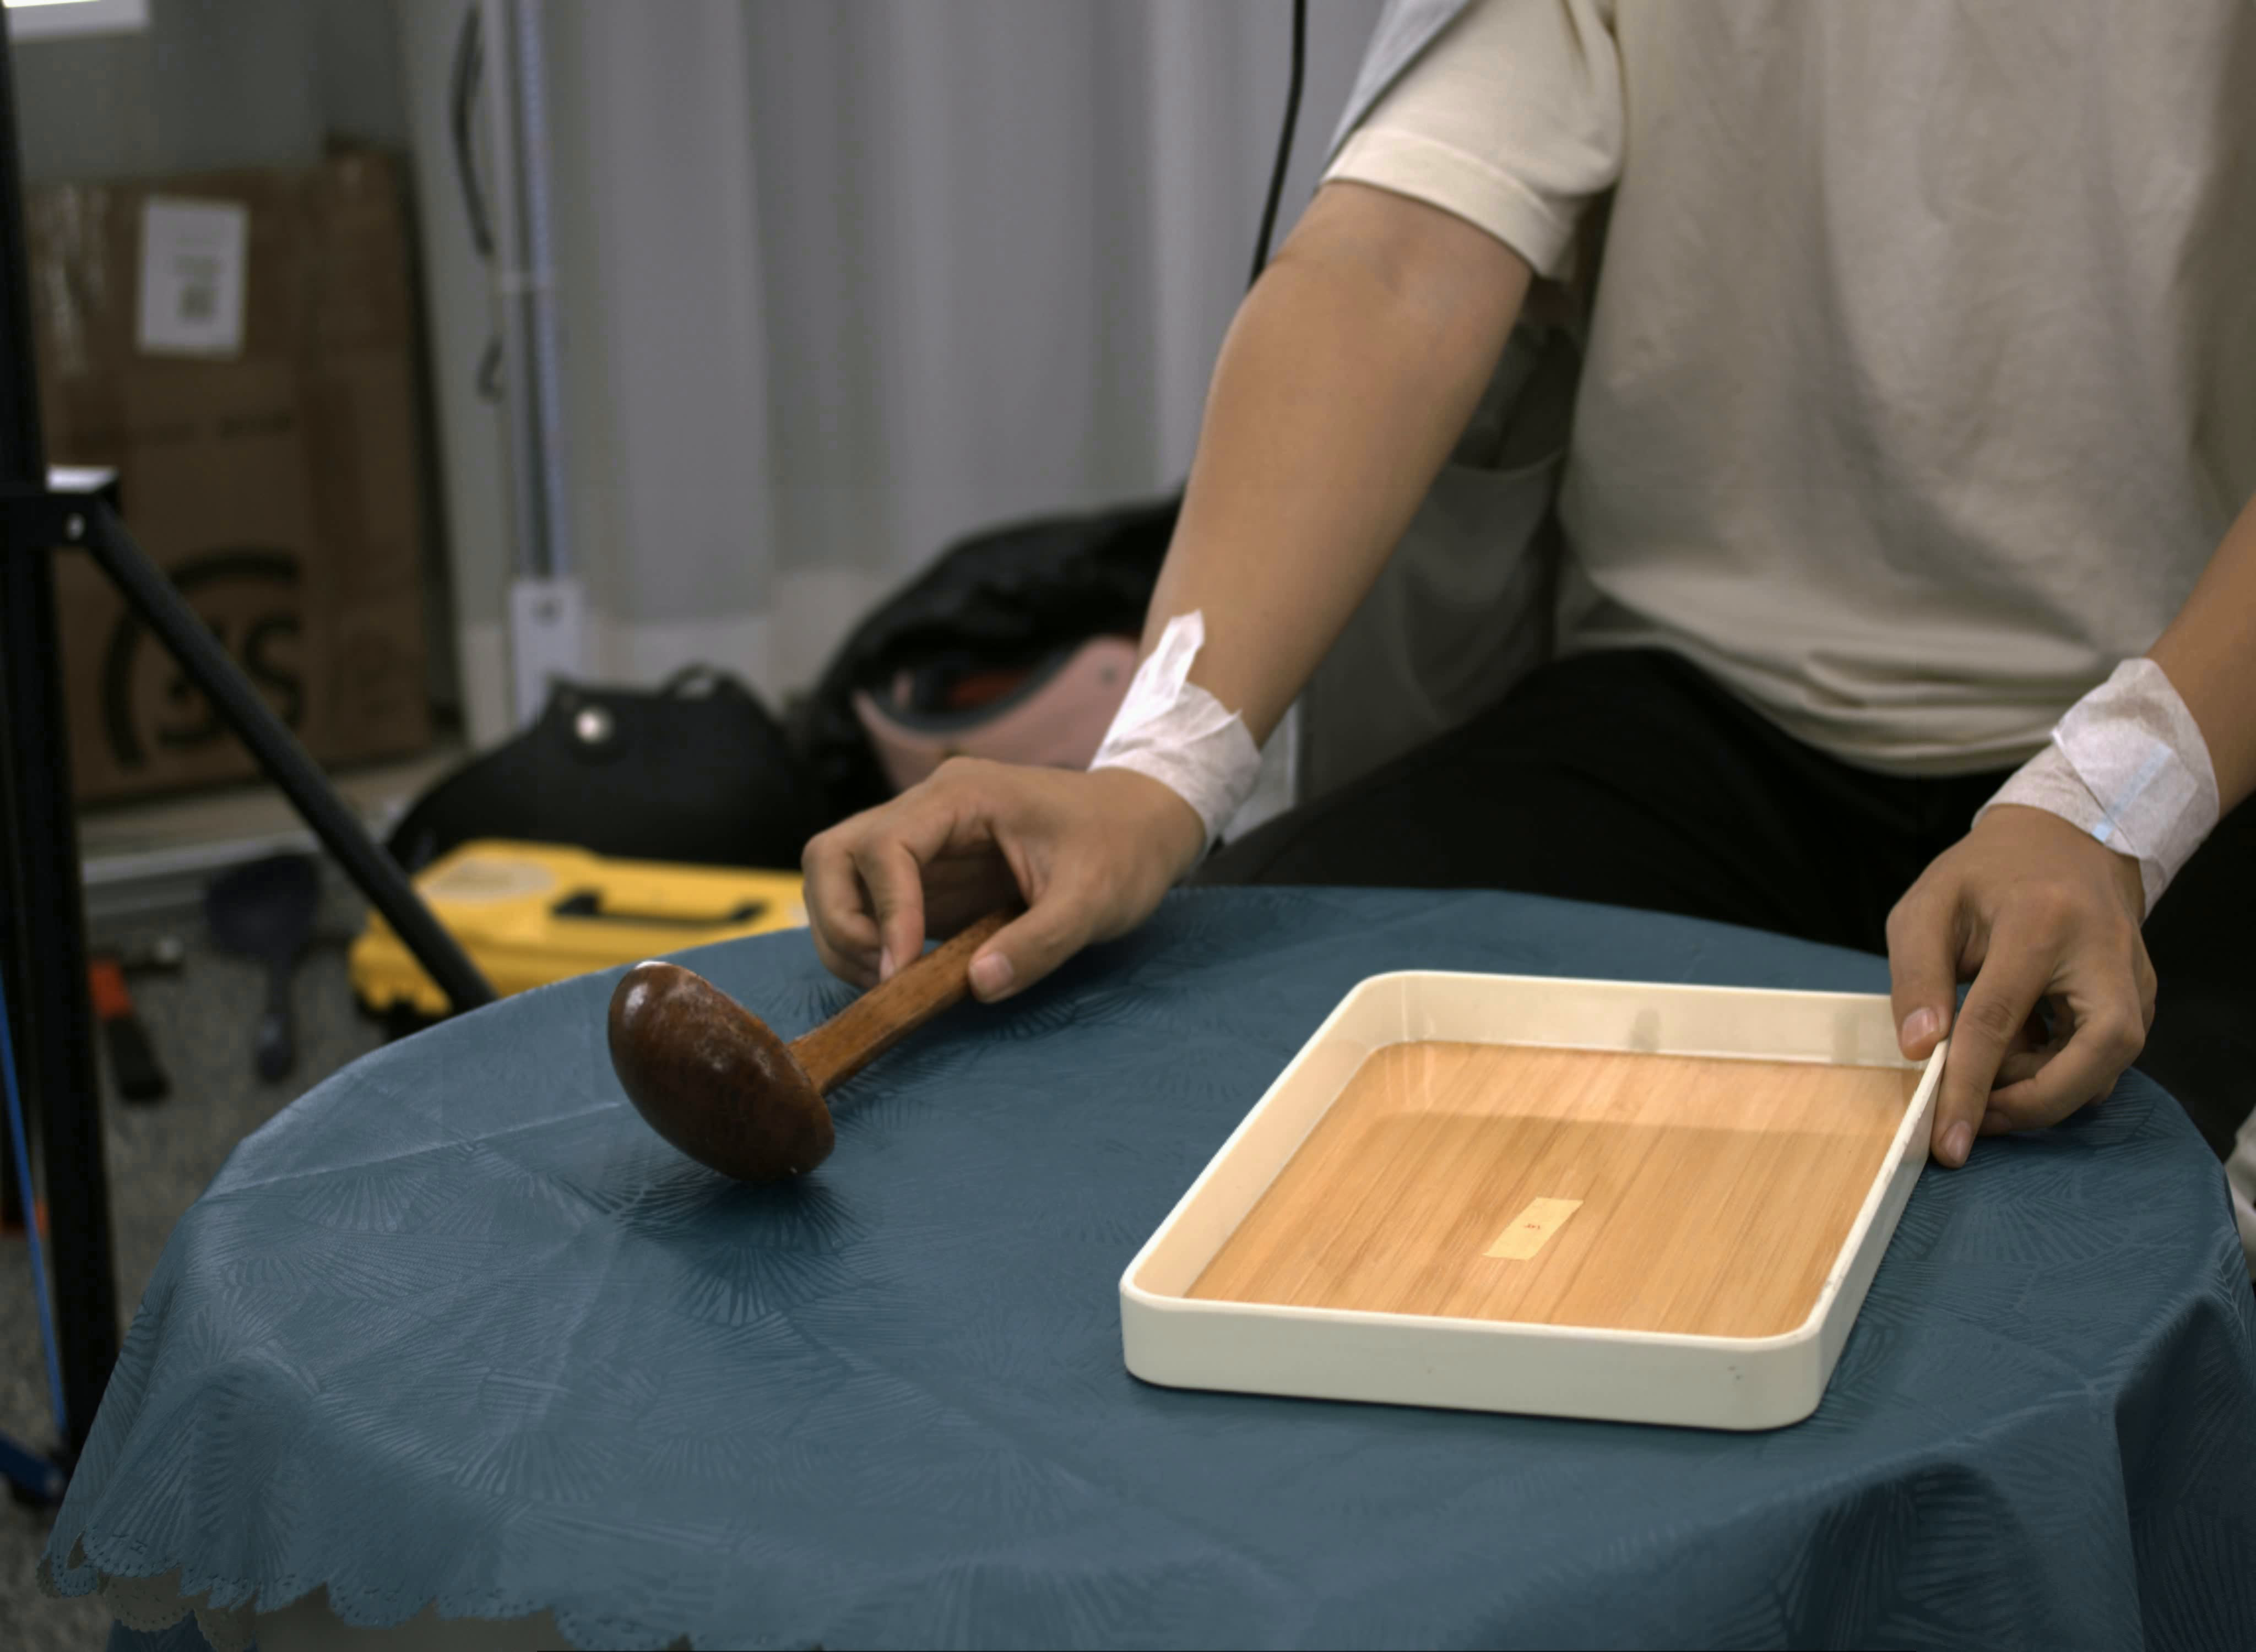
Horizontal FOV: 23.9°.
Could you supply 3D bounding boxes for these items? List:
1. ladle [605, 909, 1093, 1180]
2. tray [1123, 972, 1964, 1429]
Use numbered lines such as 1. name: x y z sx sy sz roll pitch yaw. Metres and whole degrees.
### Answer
1. ladle: -0.071 0.045 1.653 0.083 0.077 0.269 43 31 13
2. tray: 0.126 0.101 1.508 0.193 0.027 0.297 2 16 17
